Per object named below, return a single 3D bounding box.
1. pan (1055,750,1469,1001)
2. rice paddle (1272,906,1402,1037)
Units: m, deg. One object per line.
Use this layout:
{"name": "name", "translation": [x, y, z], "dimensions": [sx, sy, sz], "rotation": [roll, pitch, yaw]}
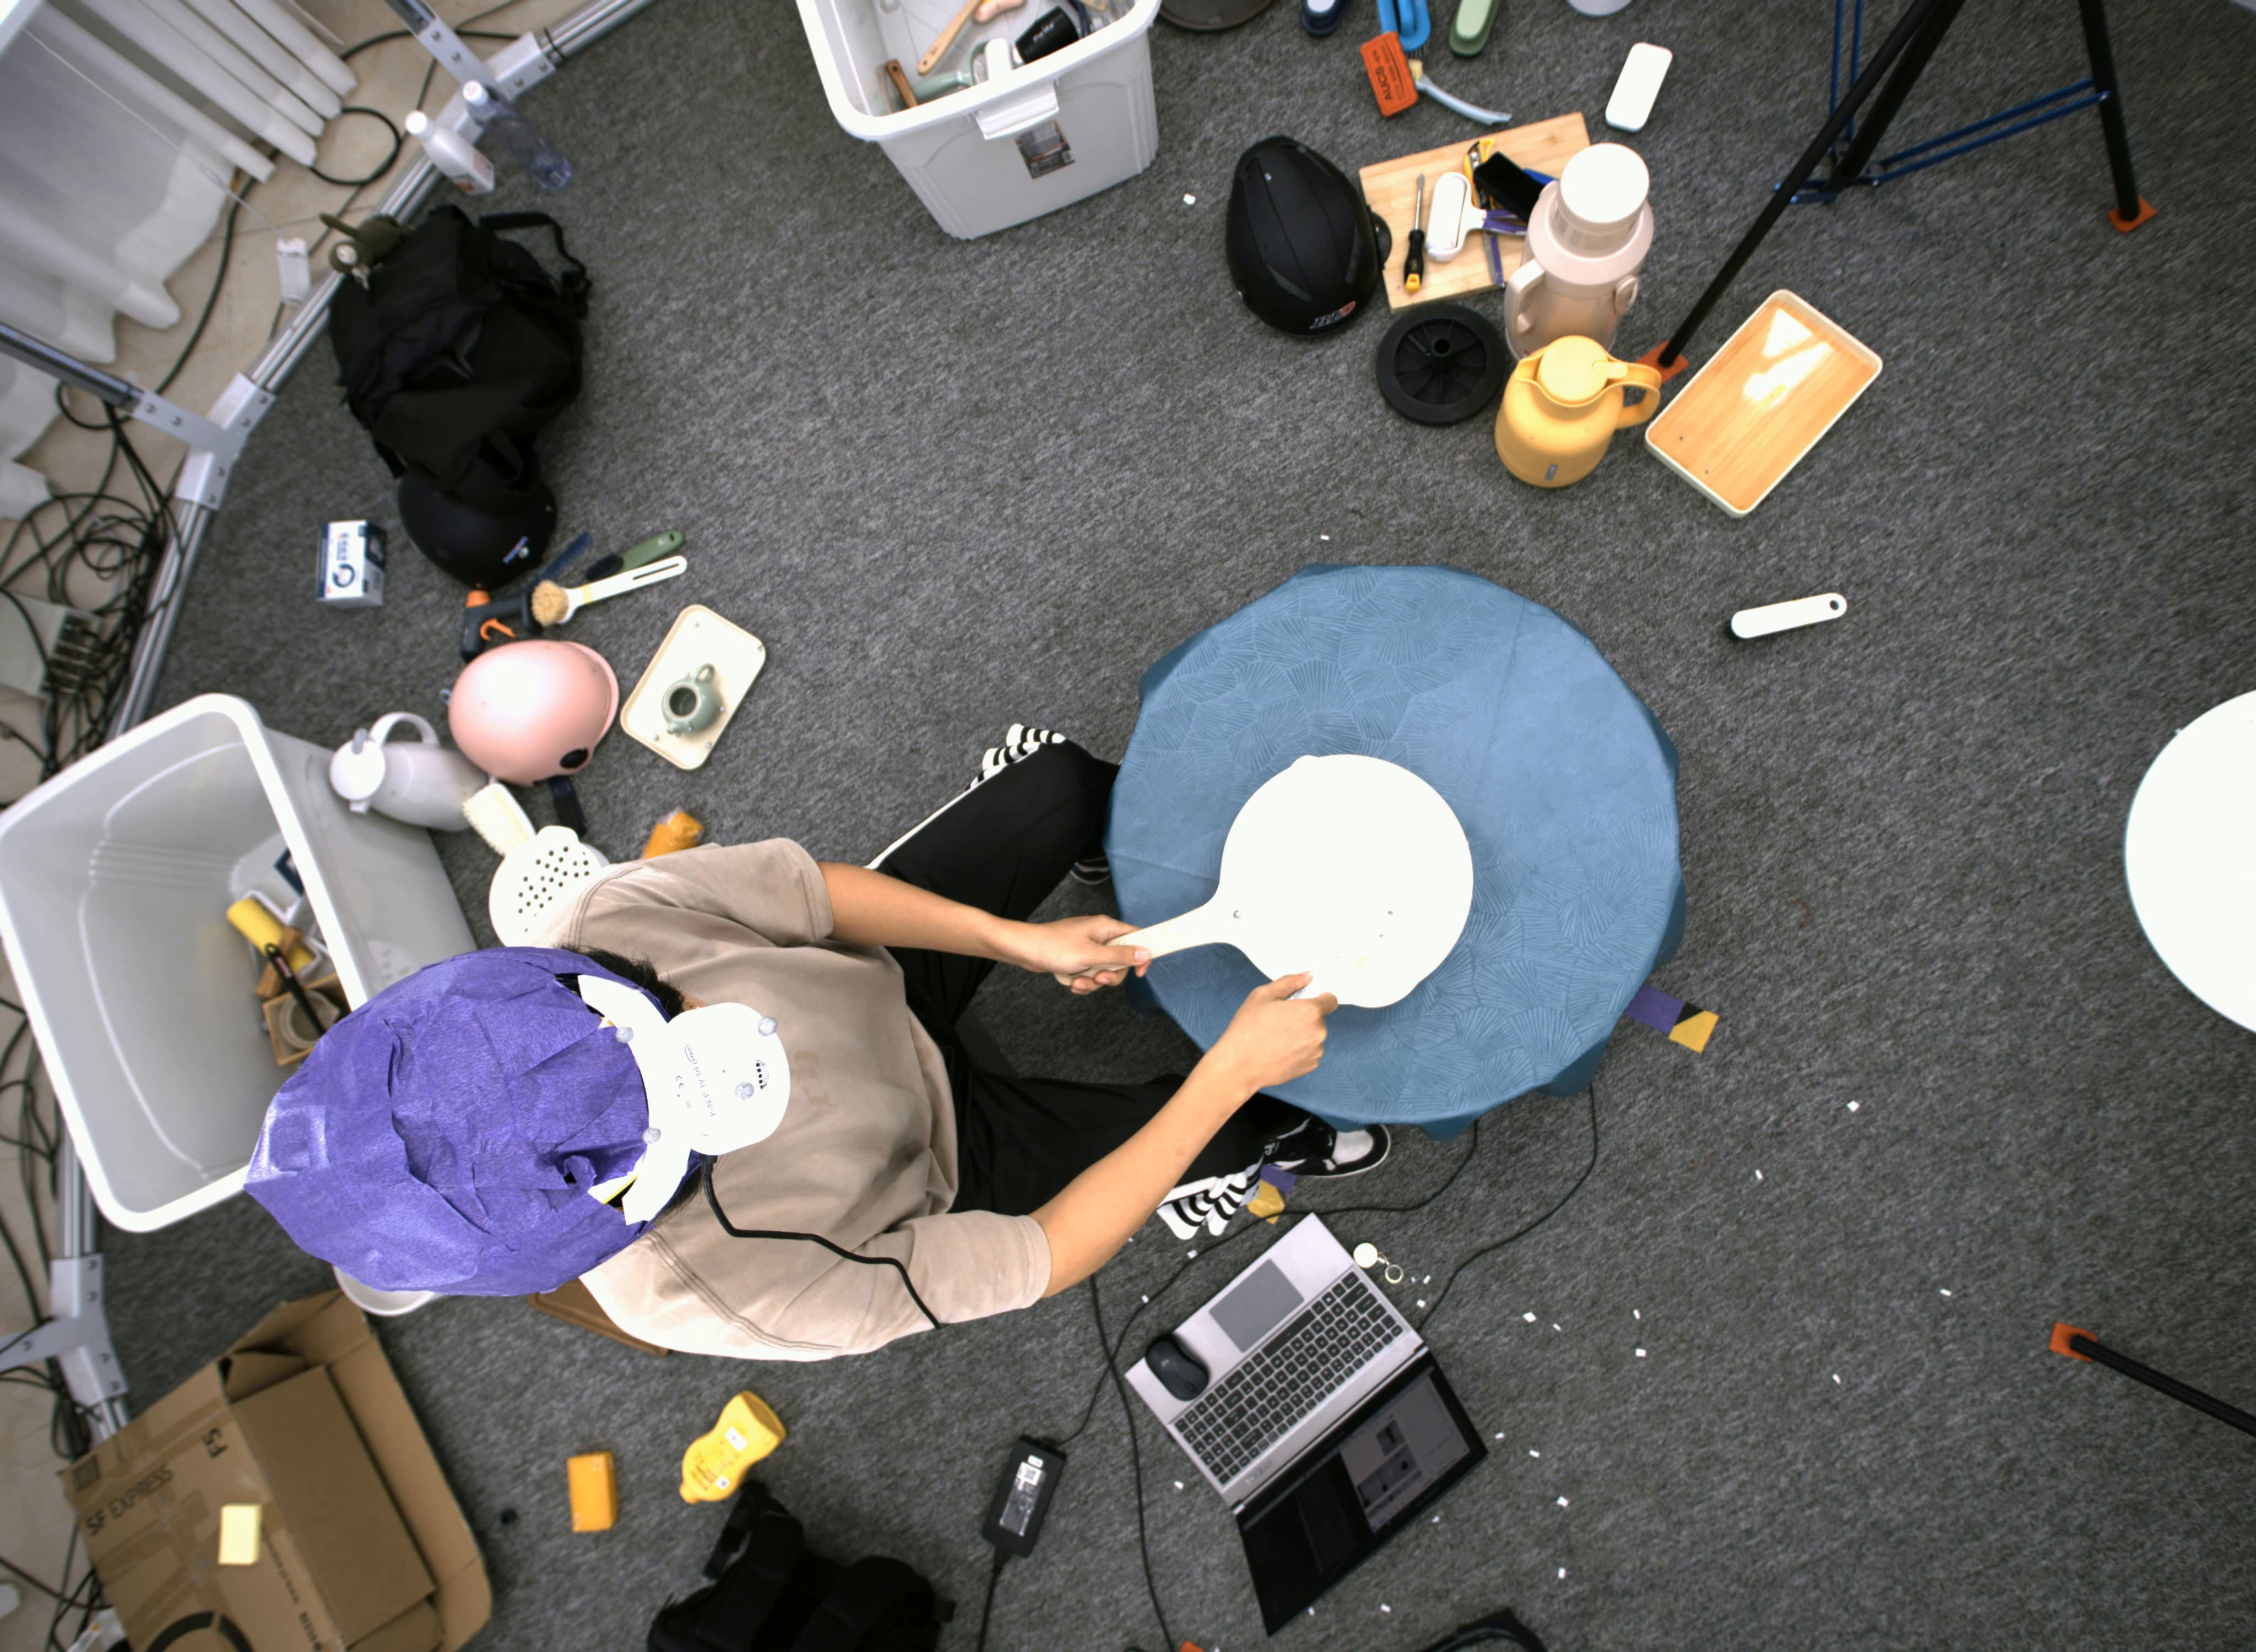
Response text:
{"name": "pan", "translation": [0.136, 0.081, 1.438], "dimensions": [0.437, 0.102, 0.262], "rotation": [-20, 85, 9]}
{"name": "rice paddle", "translation": [0.209, 0.134, 1.376], "dimensions": [0.069, 0.201, 0.030], "rotation": [-4, 120, 48]}
